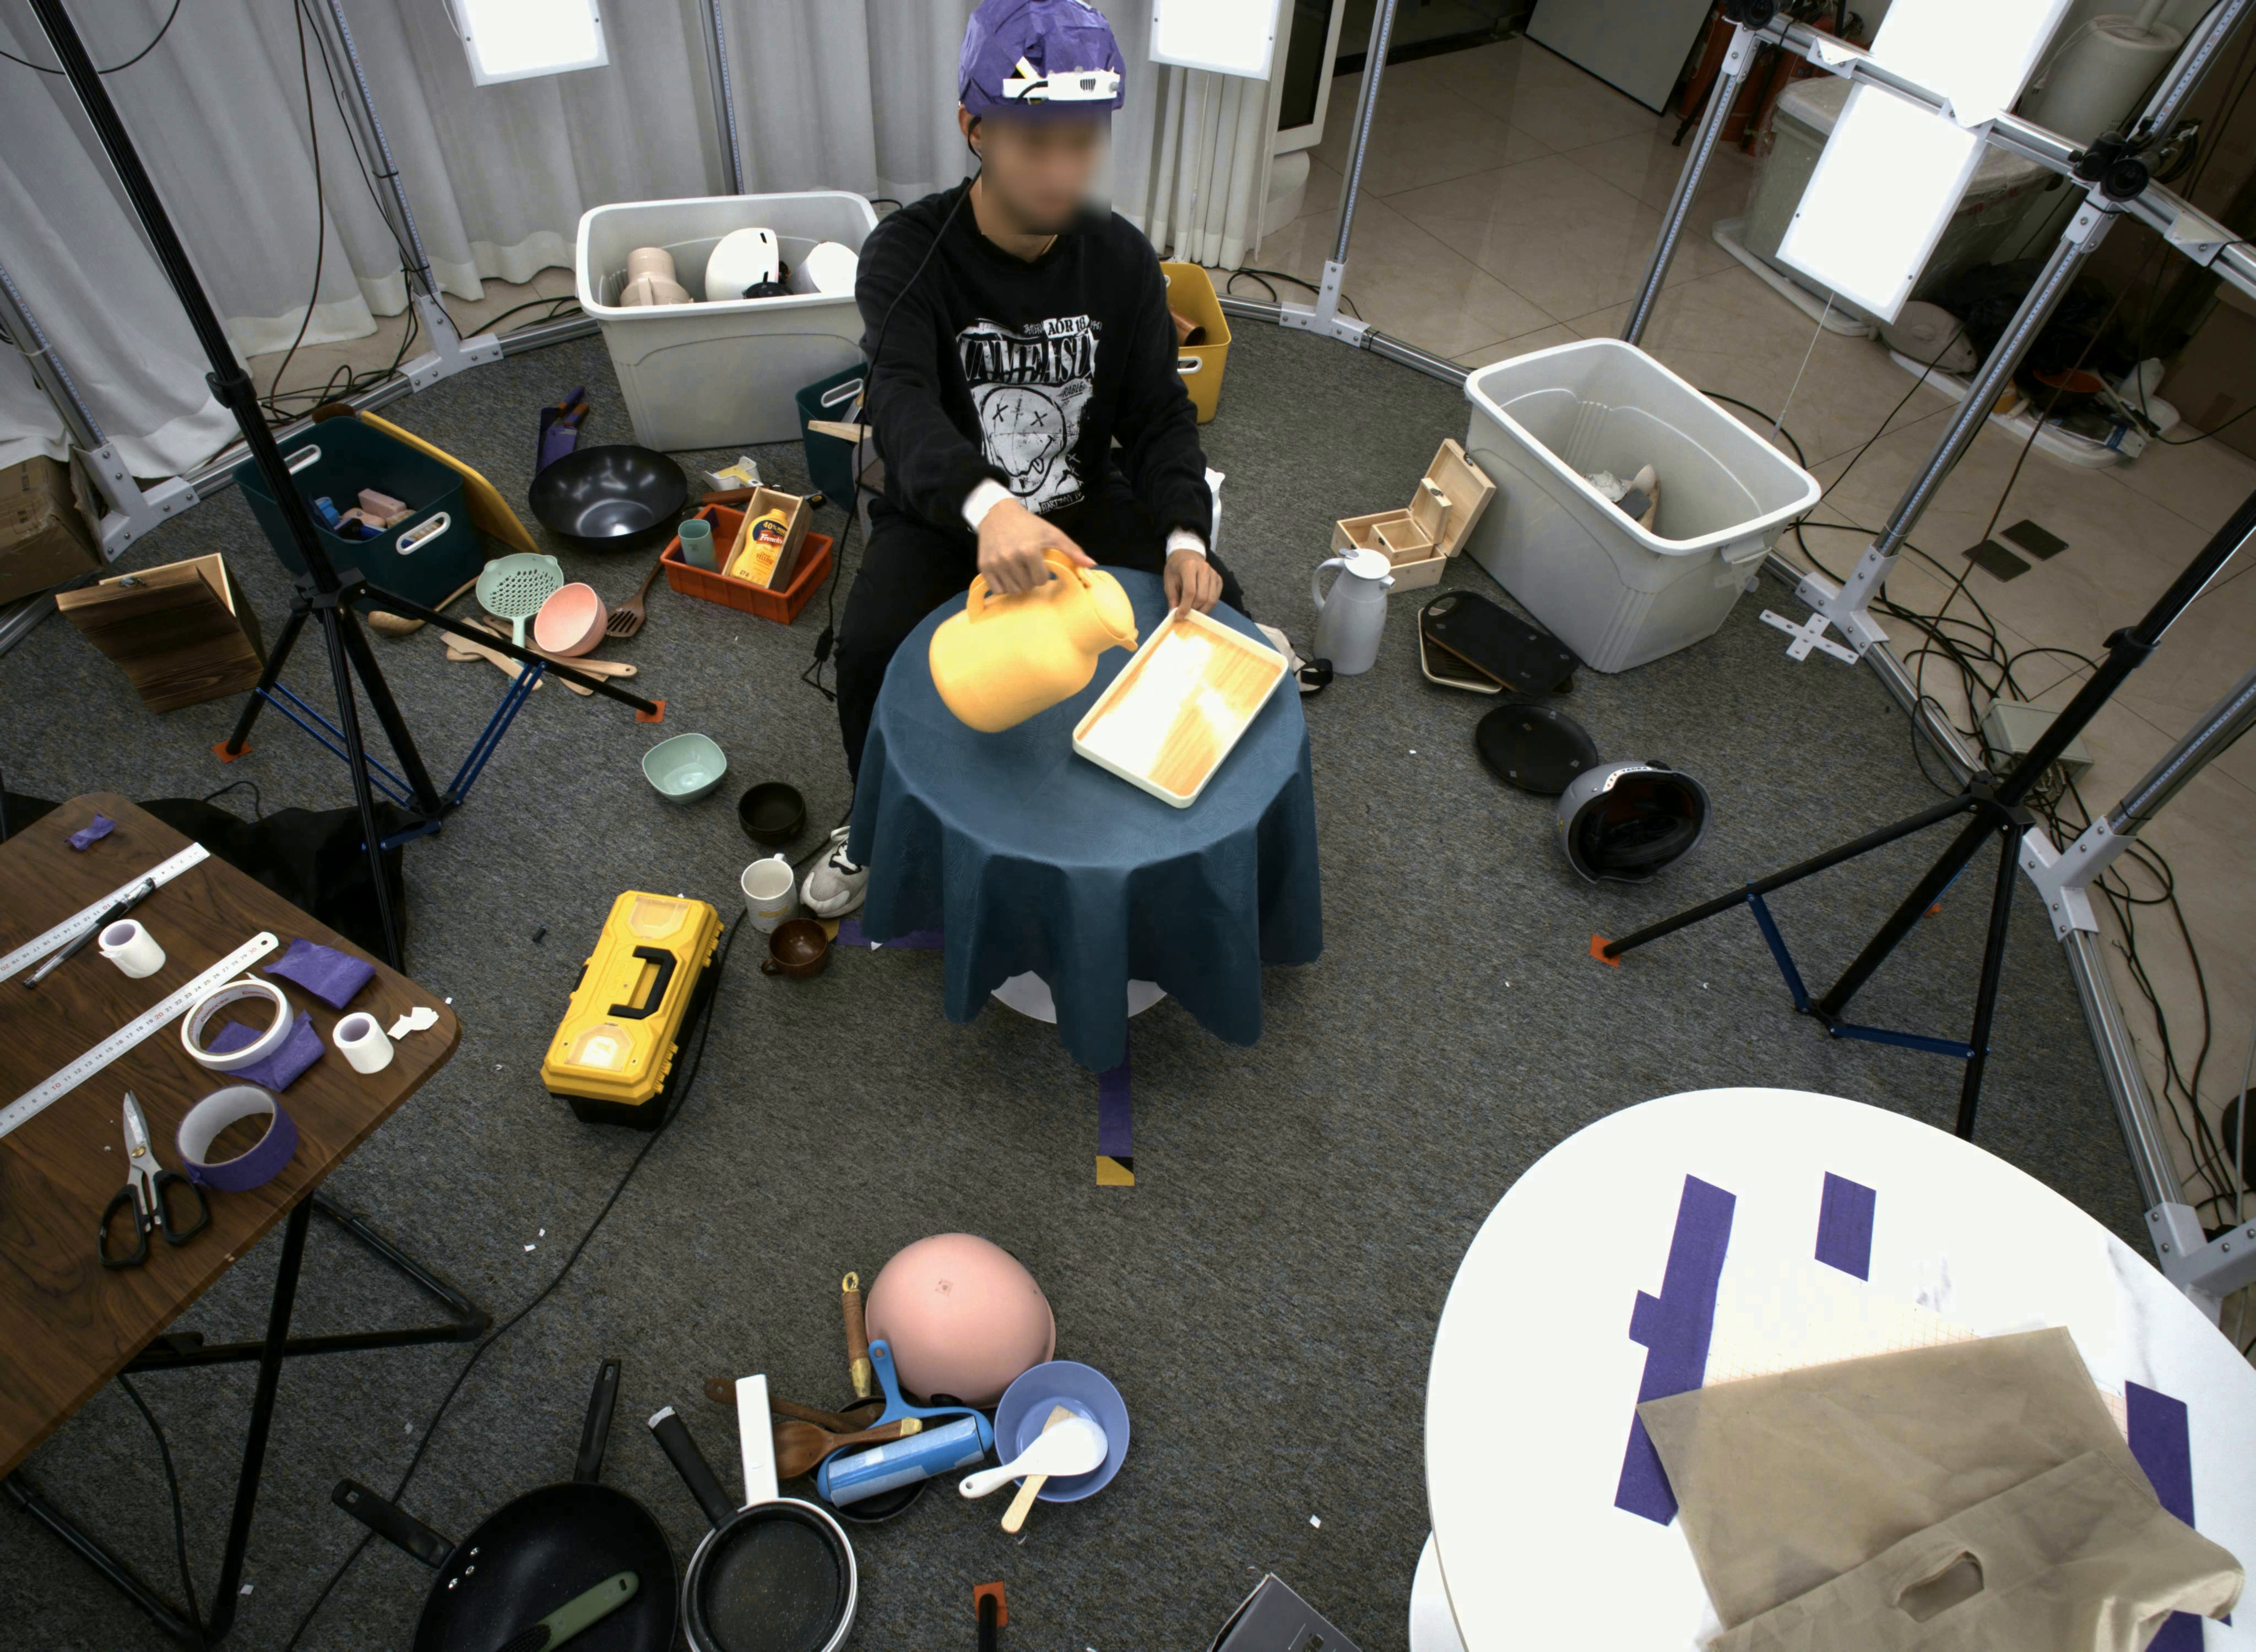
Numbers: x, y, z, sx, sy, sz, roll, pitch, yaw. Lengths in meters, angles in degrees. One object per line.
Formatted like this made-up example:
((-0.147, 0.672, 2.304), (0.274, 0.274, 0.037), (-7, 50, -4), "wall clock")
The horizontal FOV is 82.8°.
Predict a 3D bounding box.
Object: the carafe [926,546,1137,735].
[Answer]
((-0.129, -0.243, 1.626), (0.259, 0.198, 0.167), (-25, 38, 23), "carafe")

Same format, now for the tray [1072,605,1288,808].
((0.075, -0.173, 1.781), (0.193, 0.027, 0.305), (29, 58, 14), "tray")
